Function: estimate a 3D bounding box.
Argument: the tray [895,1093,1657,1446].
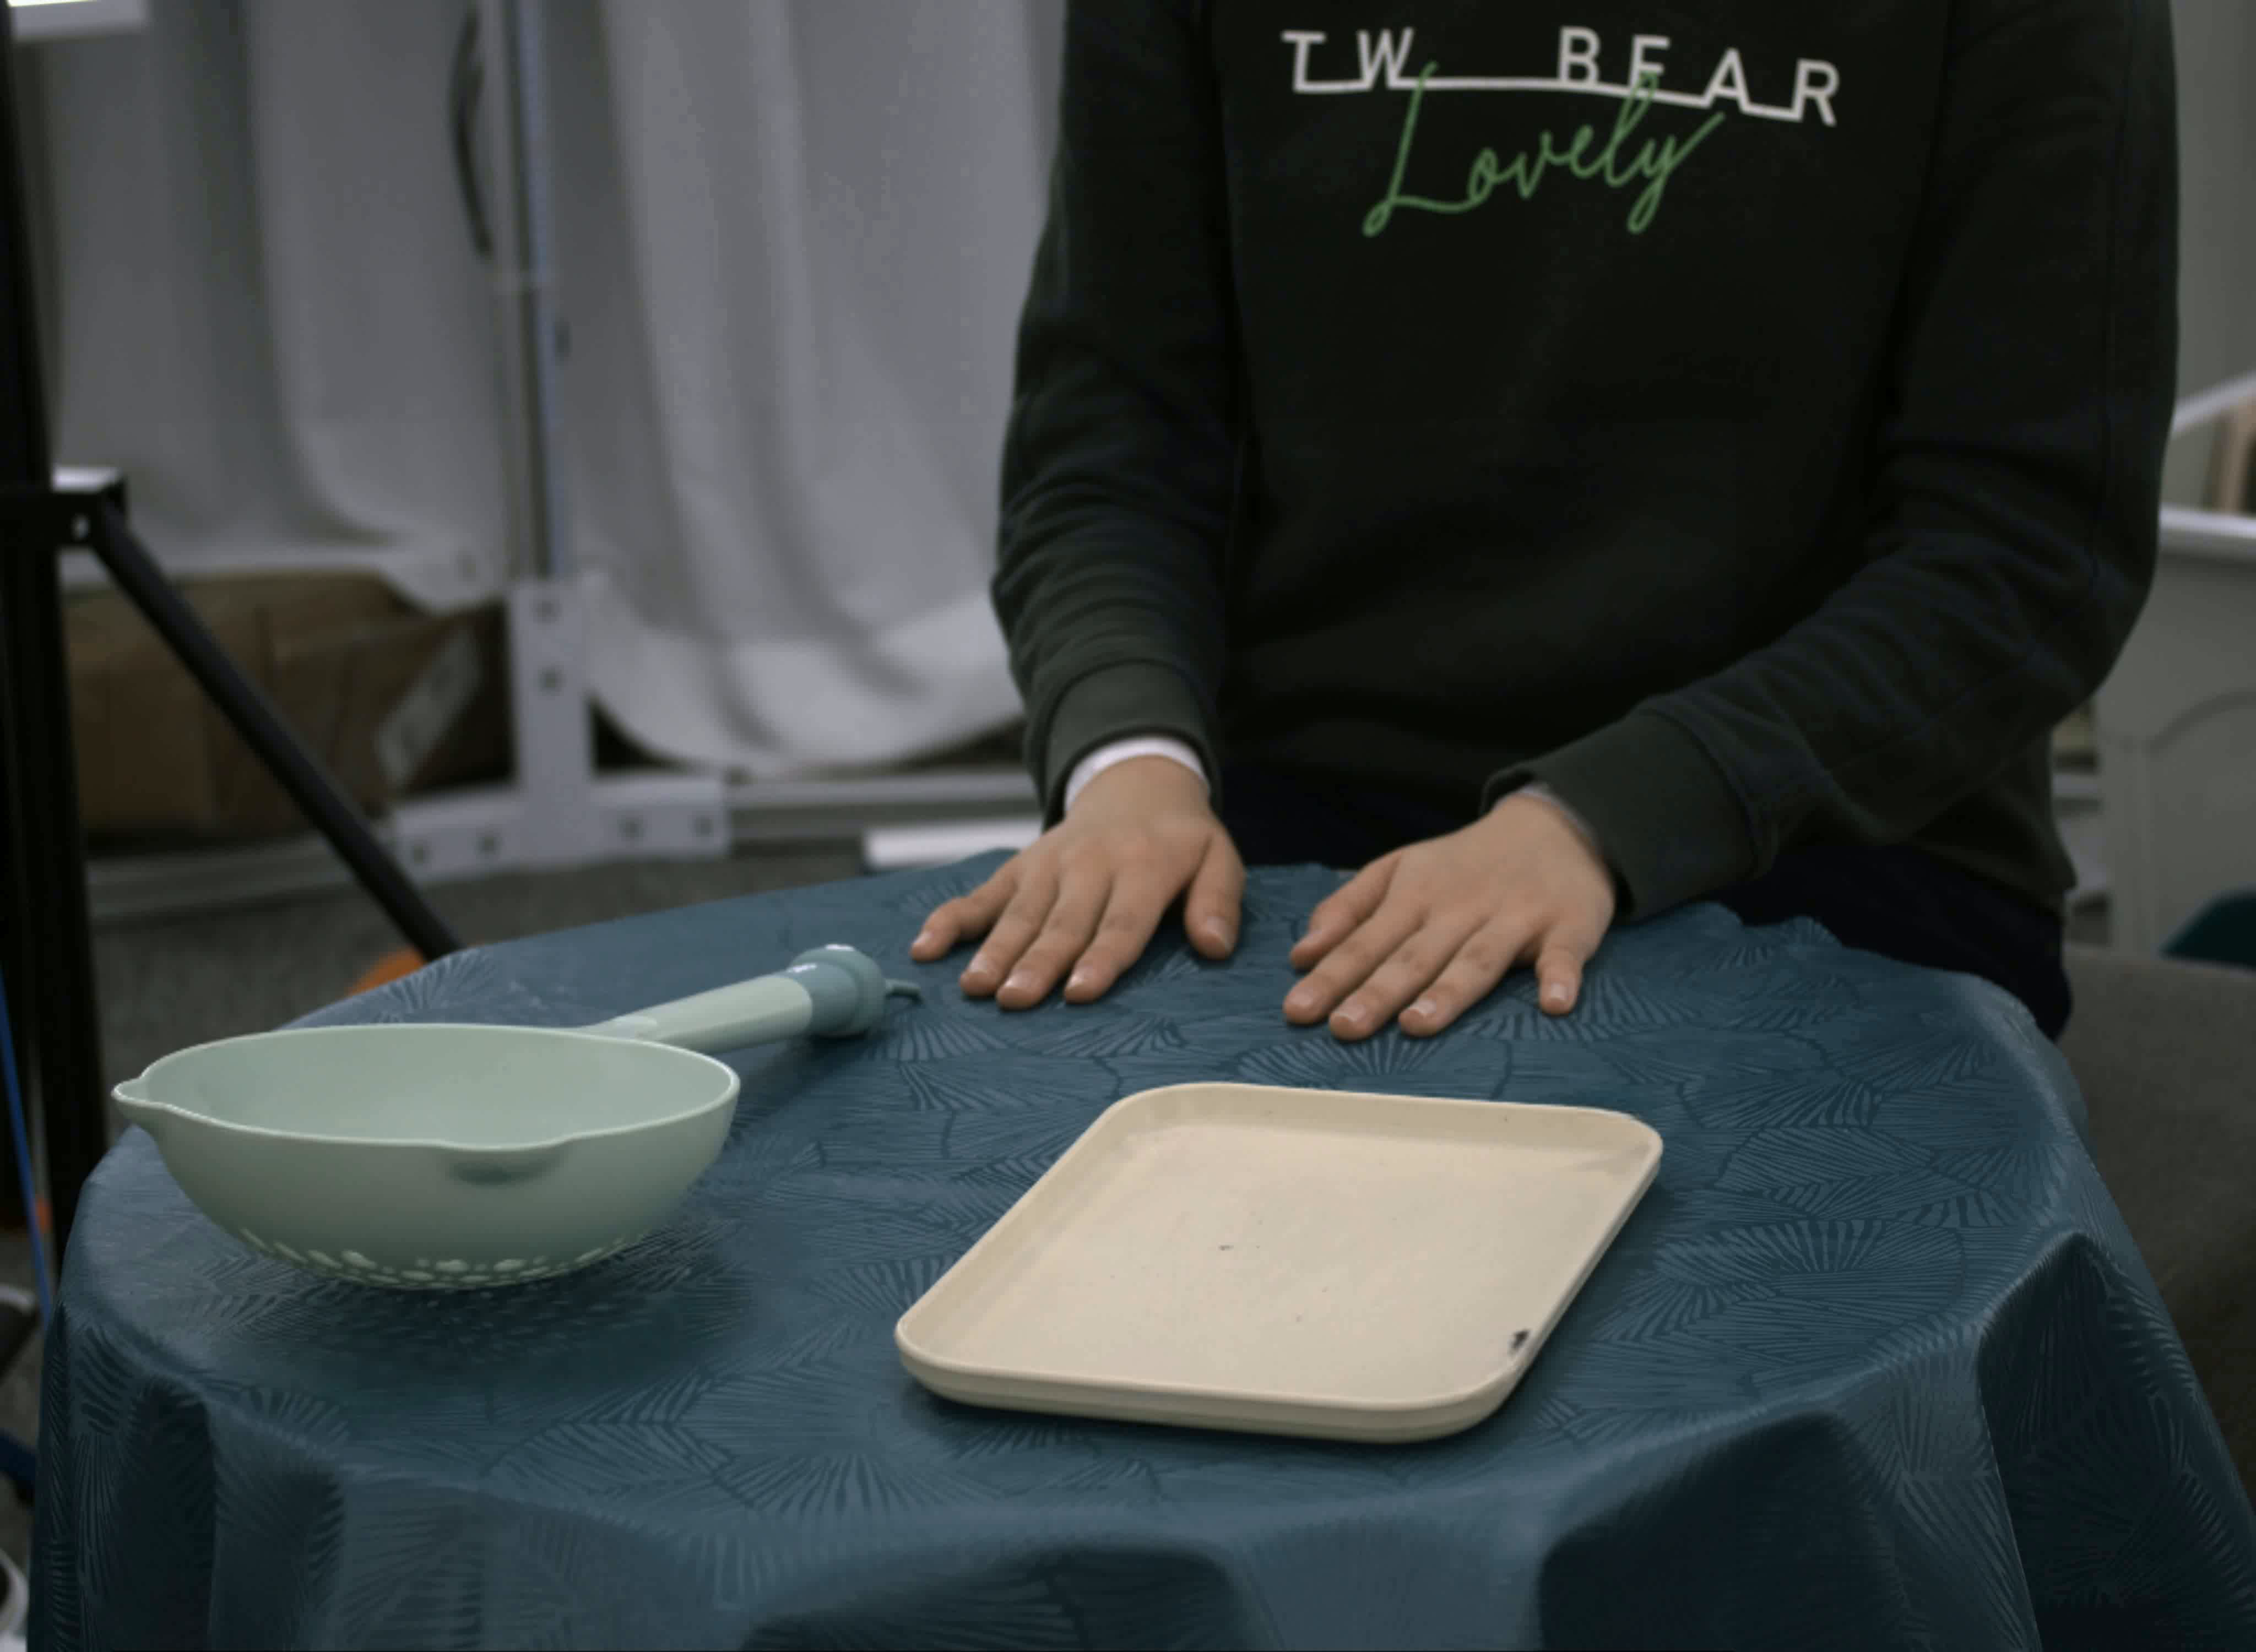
[{"bbox_3d":[0.046,0.121,1.473,0.173,0.017,0.237,3,16,18],"label":"tray"}]

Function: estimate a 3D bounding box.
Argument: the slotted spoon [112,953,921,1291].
[{"bbox_3d":[-0.152,0.072,1.593,0.172,0.075,0.353,6,17,26],"label":"slotted spoon"}]
